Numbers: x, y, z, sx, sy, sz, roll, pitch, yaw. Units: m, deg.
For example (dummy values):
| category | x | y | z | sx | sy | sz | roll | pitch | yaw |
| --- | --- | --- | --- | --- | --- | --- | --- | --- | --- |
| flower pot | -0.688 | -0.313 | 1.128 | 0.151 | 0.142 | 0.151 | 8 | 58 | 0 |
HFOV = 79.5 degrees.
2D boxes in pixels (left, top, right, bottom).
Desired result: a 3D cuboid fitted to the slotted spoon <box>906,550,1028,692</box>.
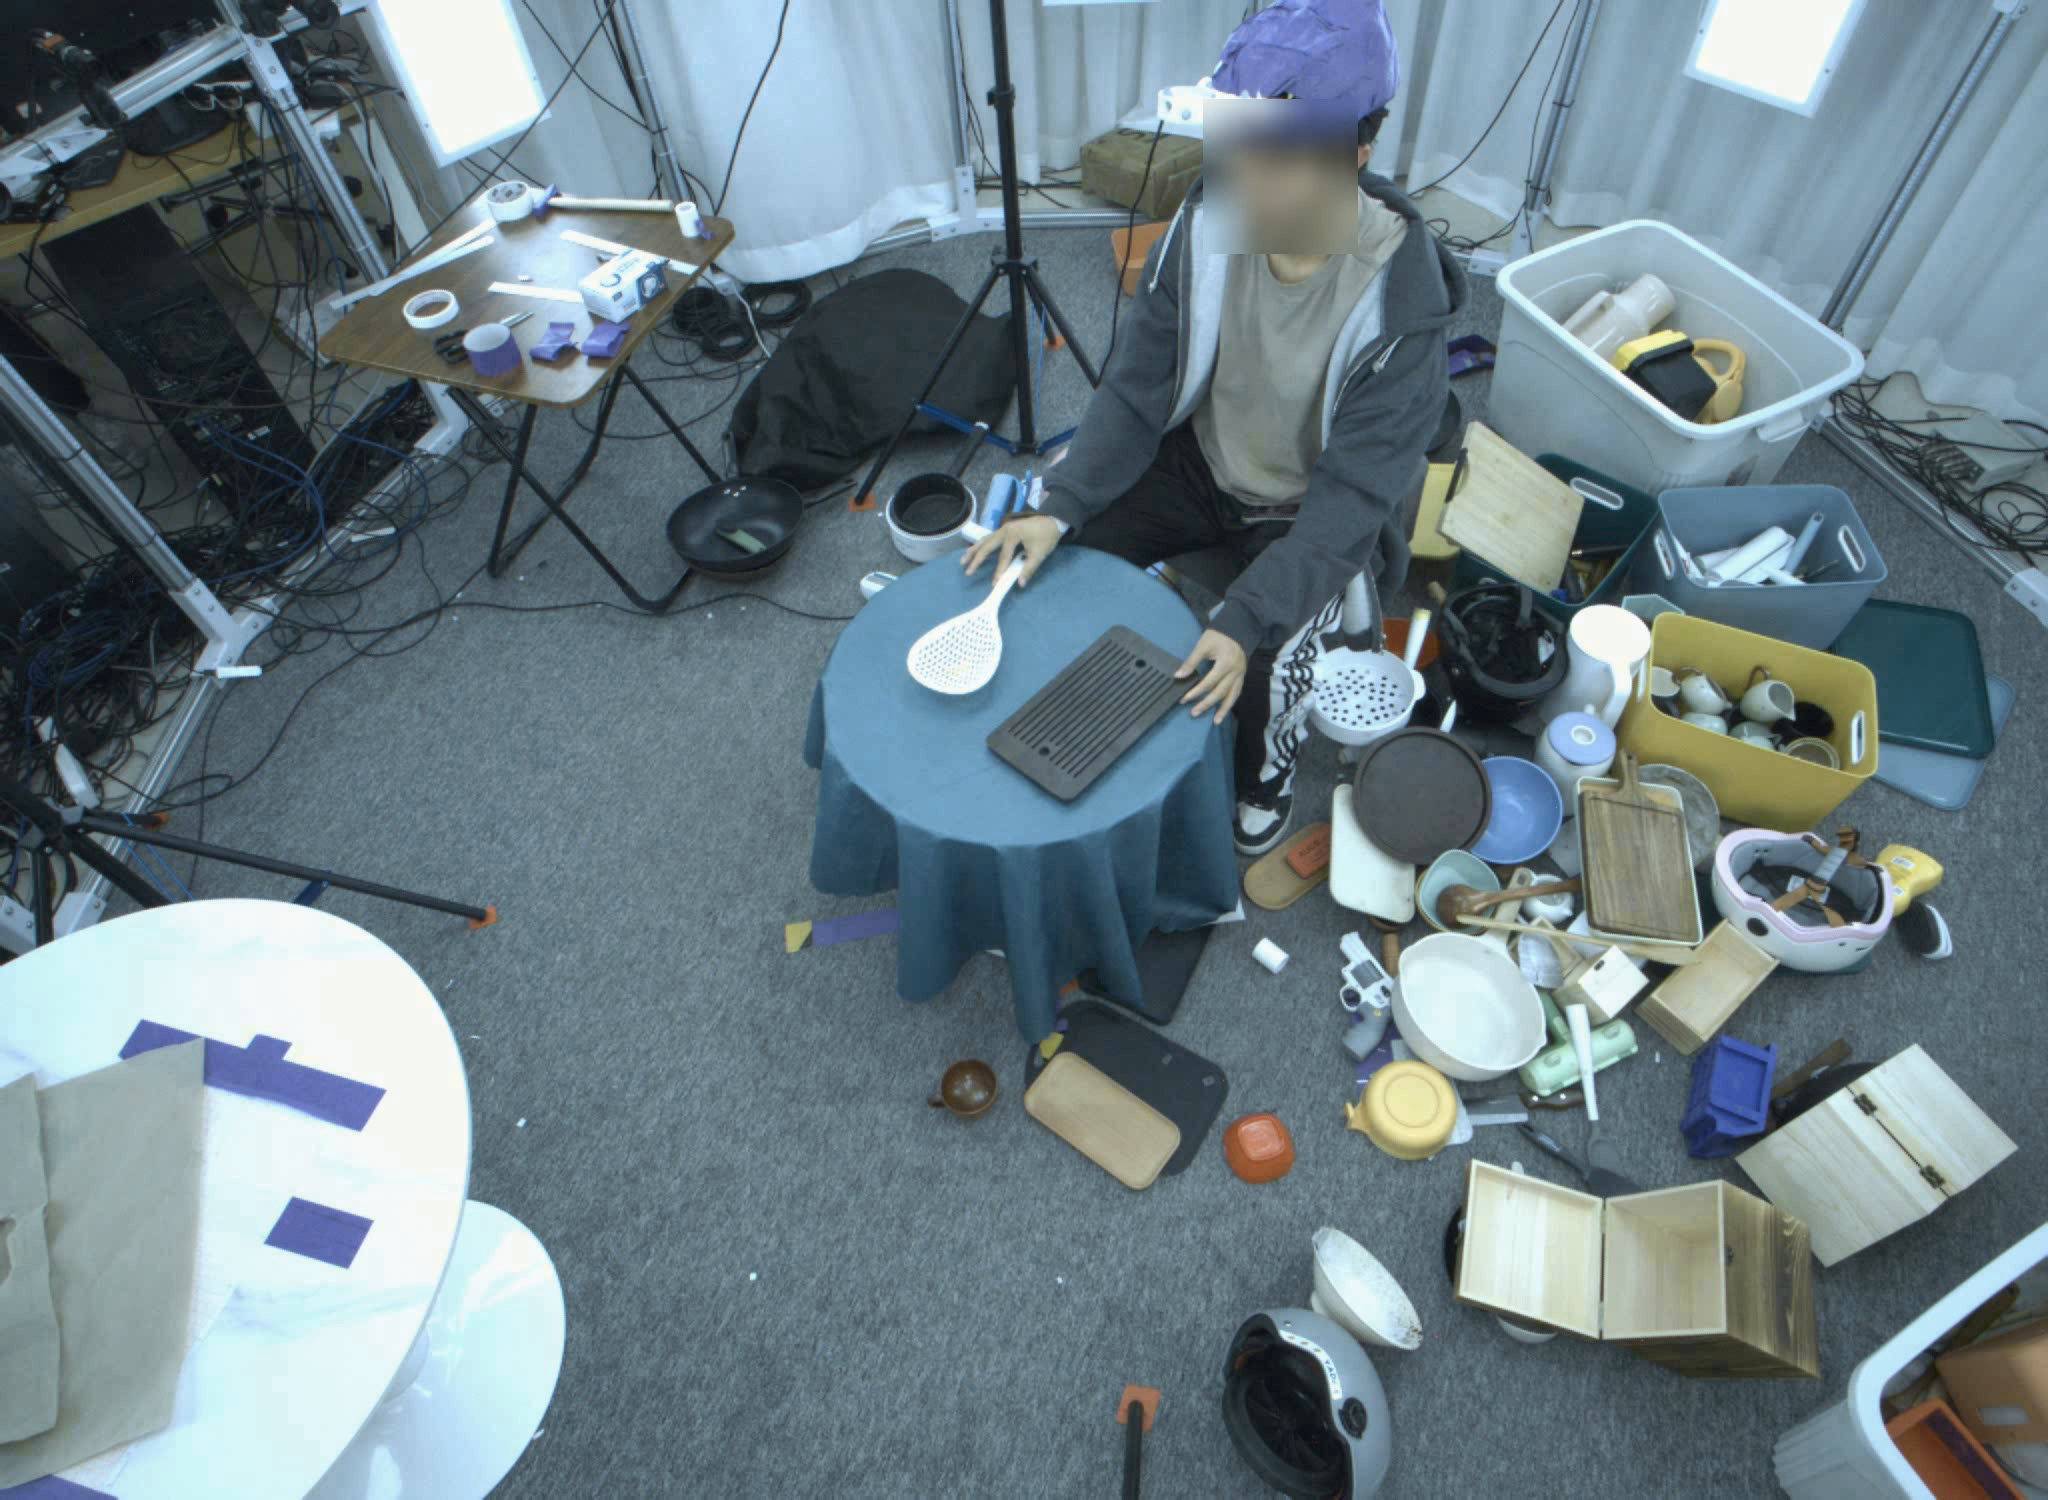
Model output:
| category | x | y | z | sx | sy | sz | roll | pitch | yaw |
| --- | --- | --- | --- | --- | --- | --- | --- | --- | --- |
| slotted spoon | -0.062 | -0.210 | 1.916 | 0.135 | 0.051 | 0.348 | 18 | 57 | 15 |

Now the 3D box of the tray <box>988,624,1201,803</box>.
| category | x | y | z | sx | sy | sz | roll | pitch | yaw |
| --- | --- | --- | --- | --- | --- | --- | --- | --- | --- |
| tray | 0.106 | -0.057 | 1.815 | 0.167 | 0.019 | 0.308 | 36 | 63 | 25 |
